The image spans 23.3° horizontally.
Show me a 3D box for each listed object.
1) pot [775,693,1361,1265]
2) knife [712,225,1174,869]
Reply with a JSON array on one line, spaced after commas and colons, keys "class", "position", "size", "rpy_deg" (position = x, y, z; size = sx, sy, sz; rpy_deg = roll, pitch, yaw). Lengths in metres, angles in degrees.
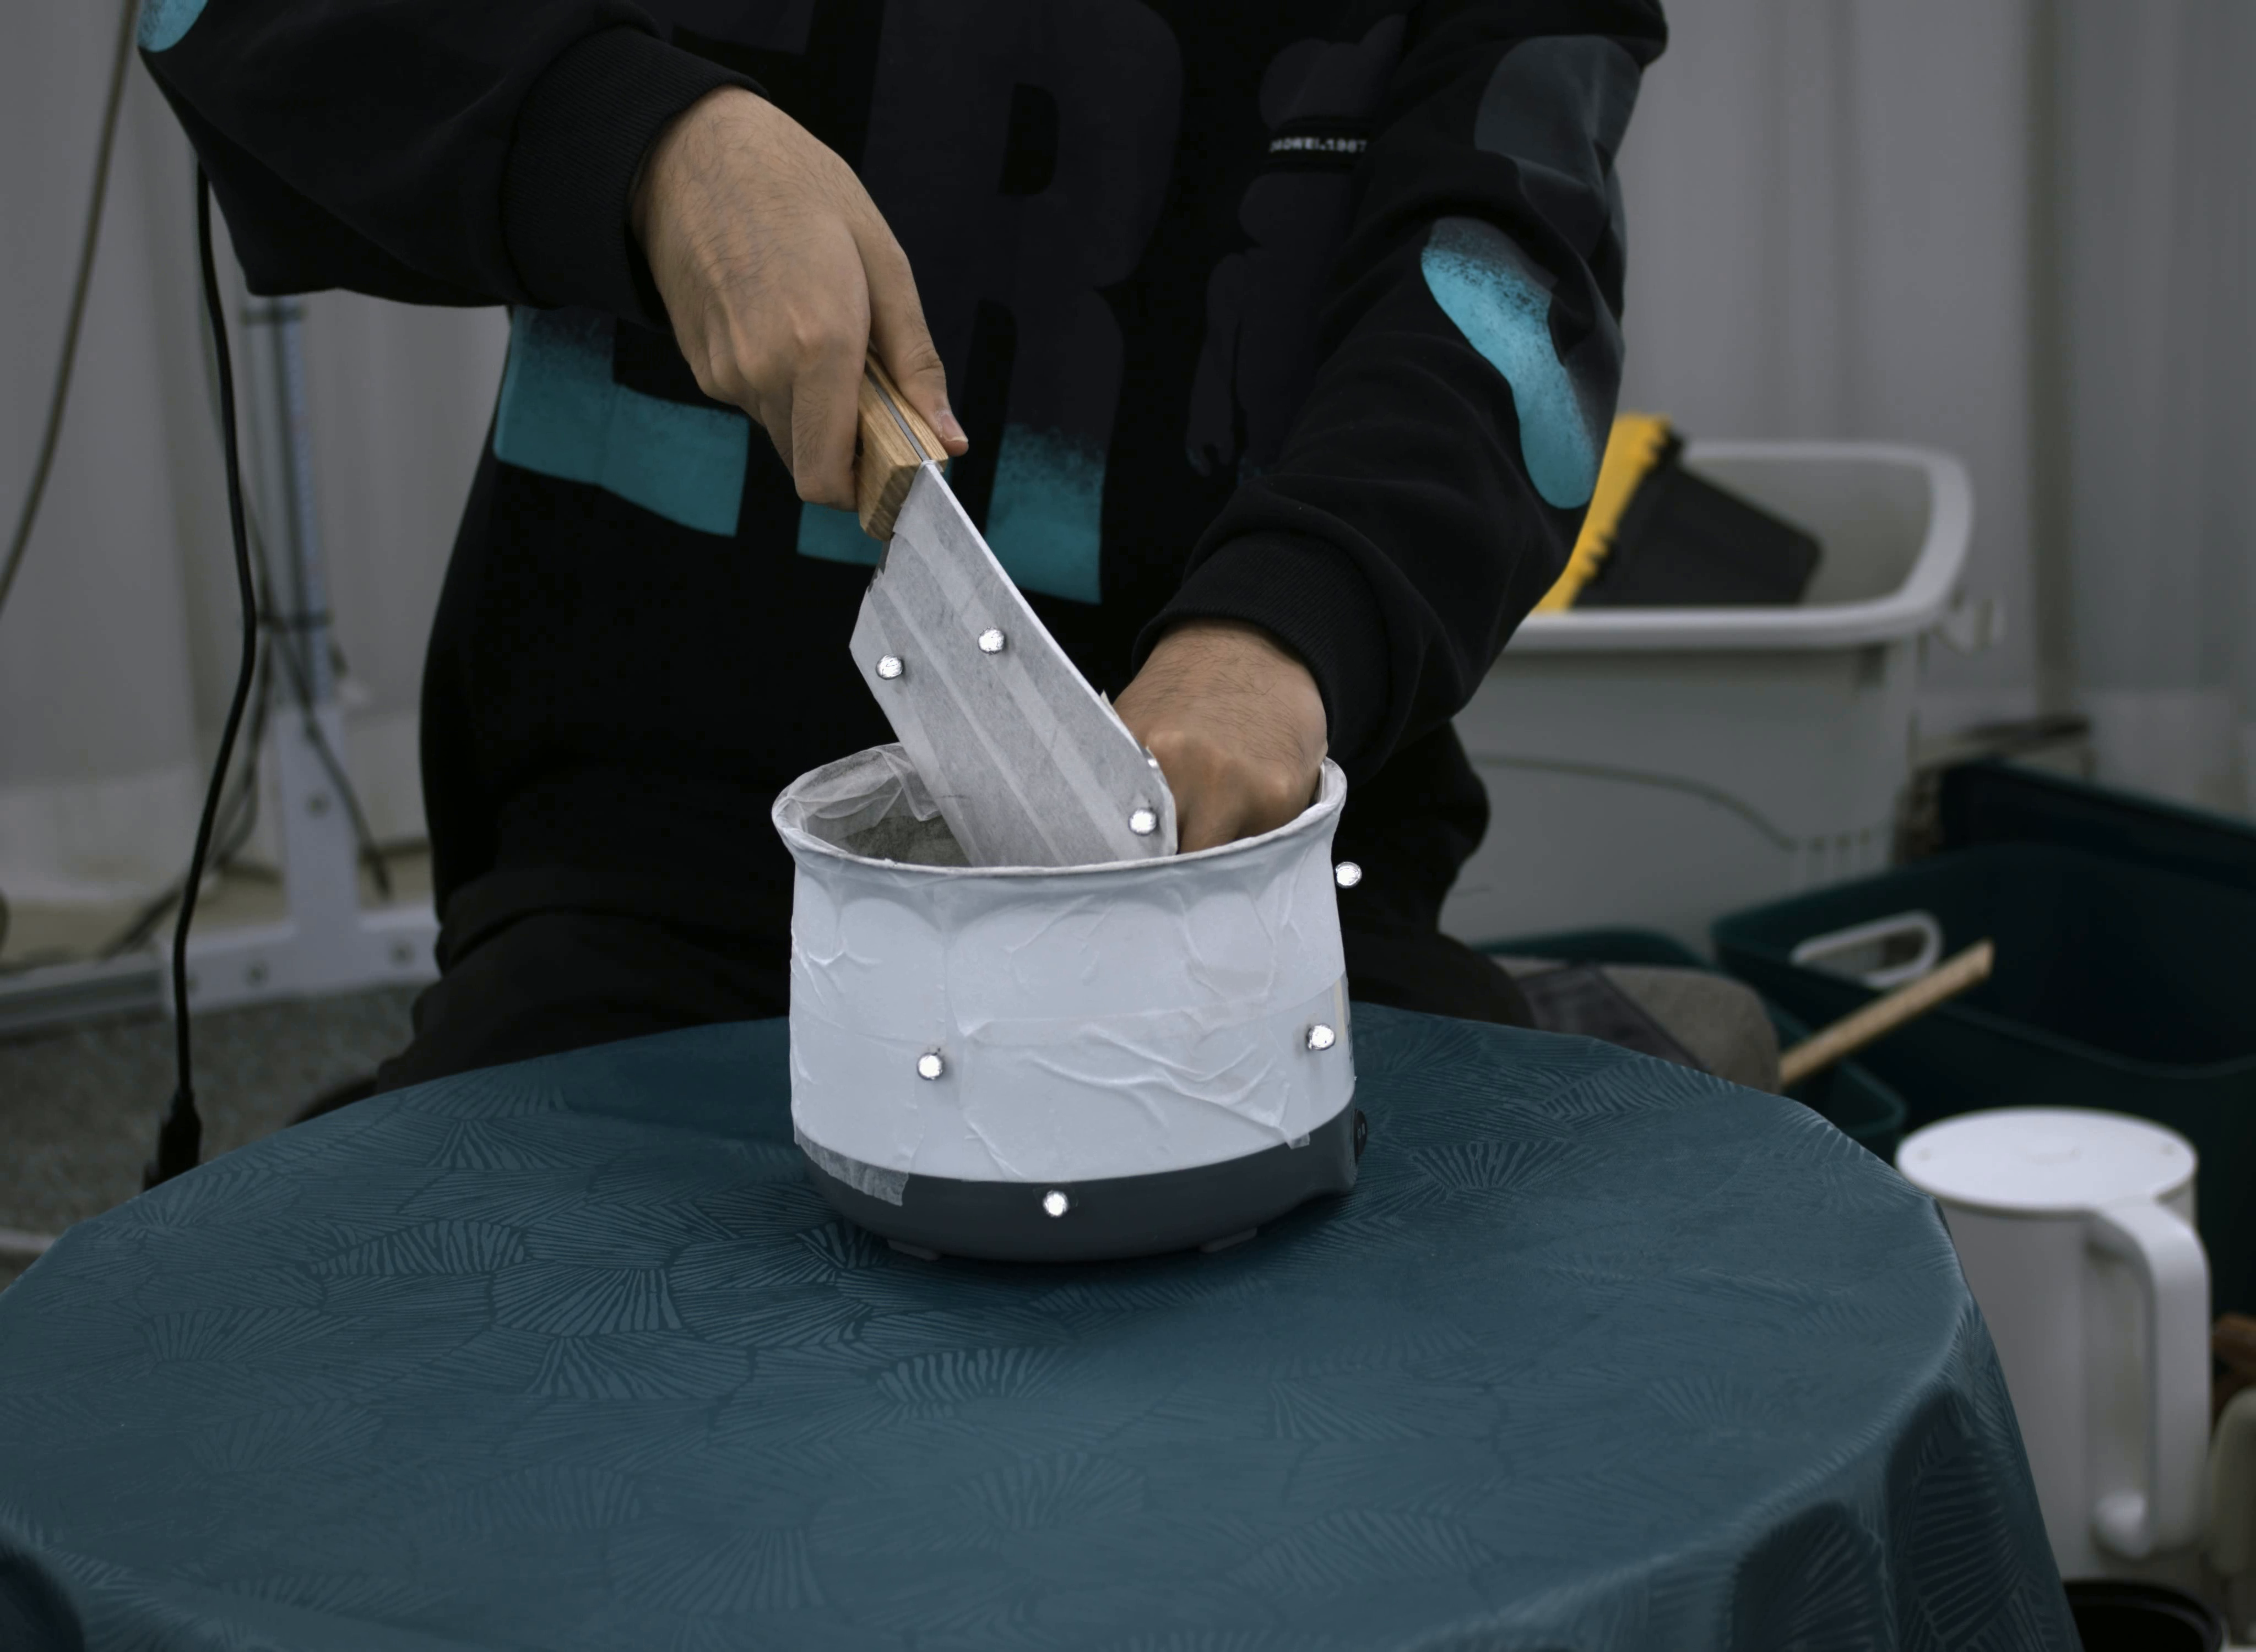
[{"class": "pot", "position": [-0.017, 0.043, 1.720], "size": [0.178, 0.136, 0.235], "rpy_deg": [-1, 16, 1]}, {"class": "knife", "position": [-0.061, -0.074, 1.713], "size": [0.021, 0.113, 0.320], "rpy_deg": [-6, 50, -31]}]
